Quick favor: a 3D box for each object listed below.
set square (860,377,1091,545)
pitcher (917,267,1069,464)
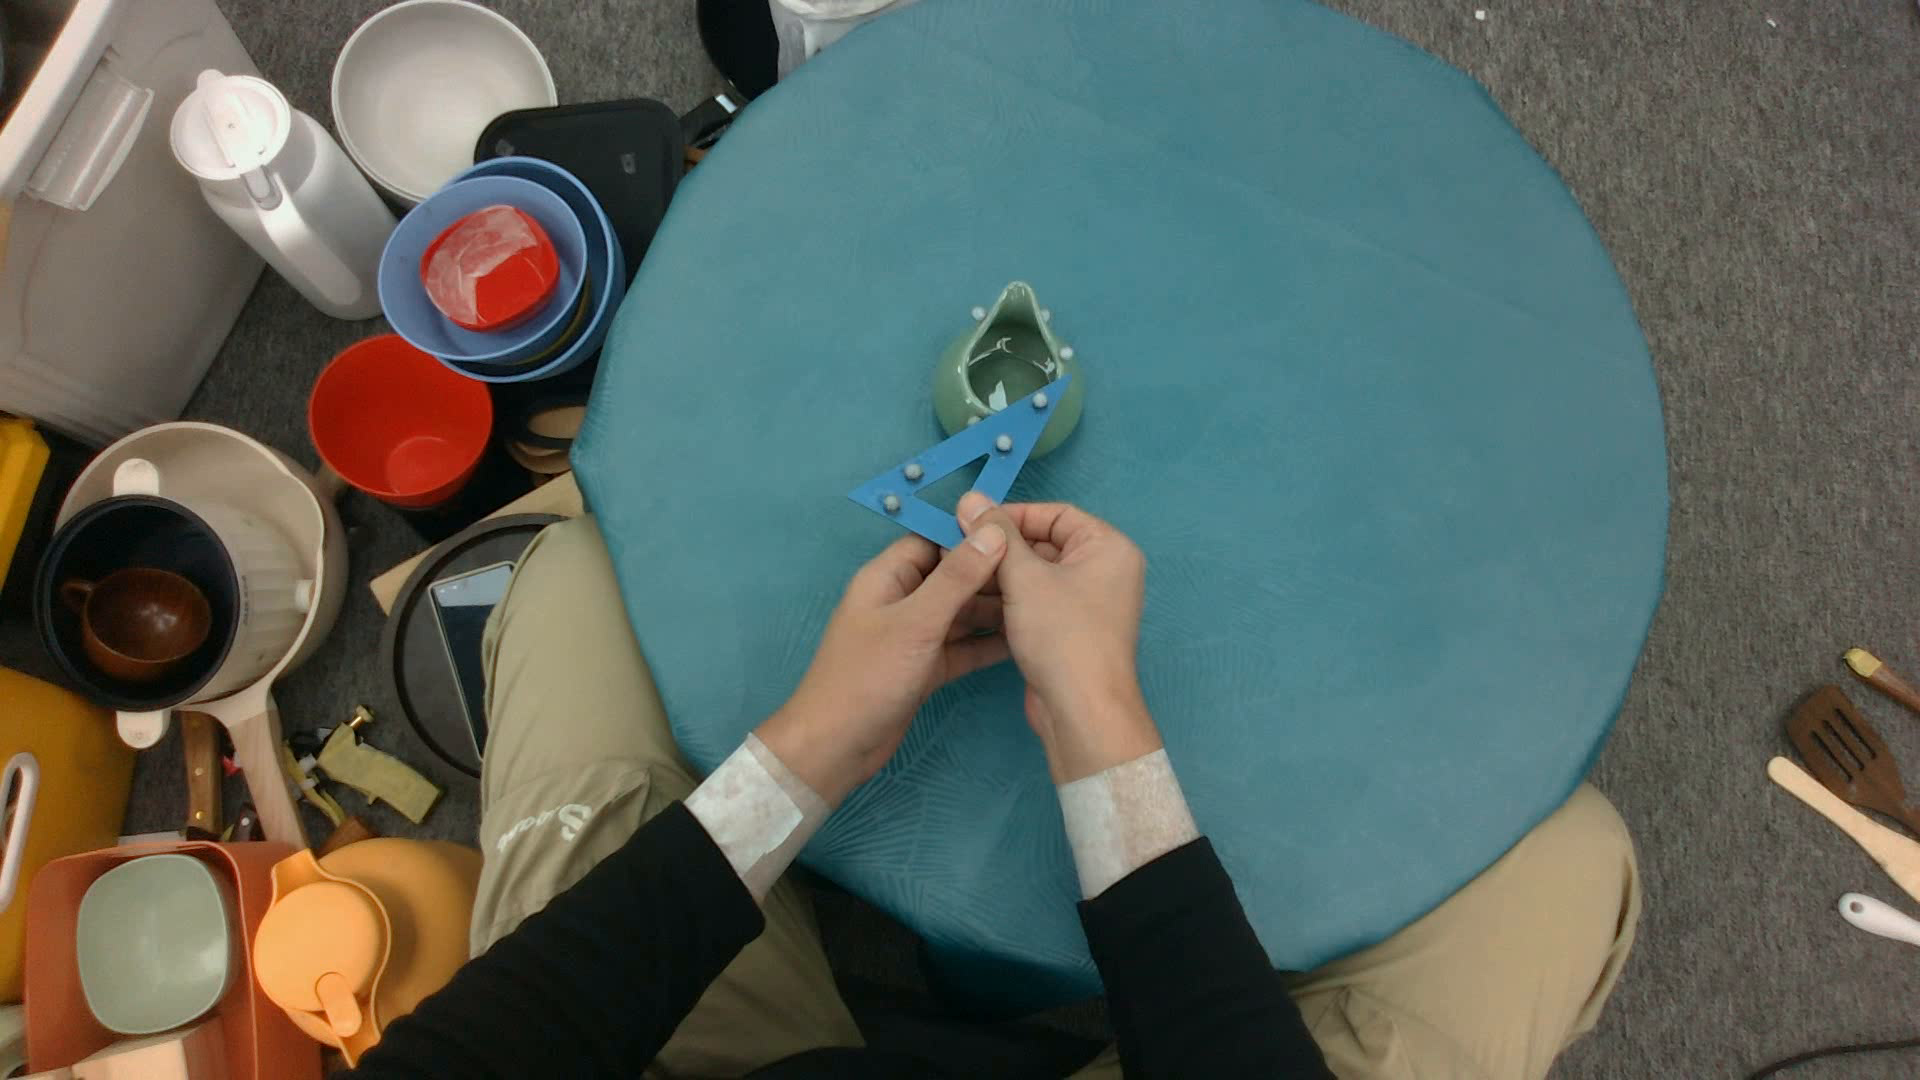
[{"bbox_3d":[0.020,-0.038,0.698,0.132,0.006,0.061,-26,71,-15],"label":"set square"},{"bbox_3d":[0.018,-0.086,0.747,0.084,0.056,0.113,3,75,1],"label":"pitcher"}]
